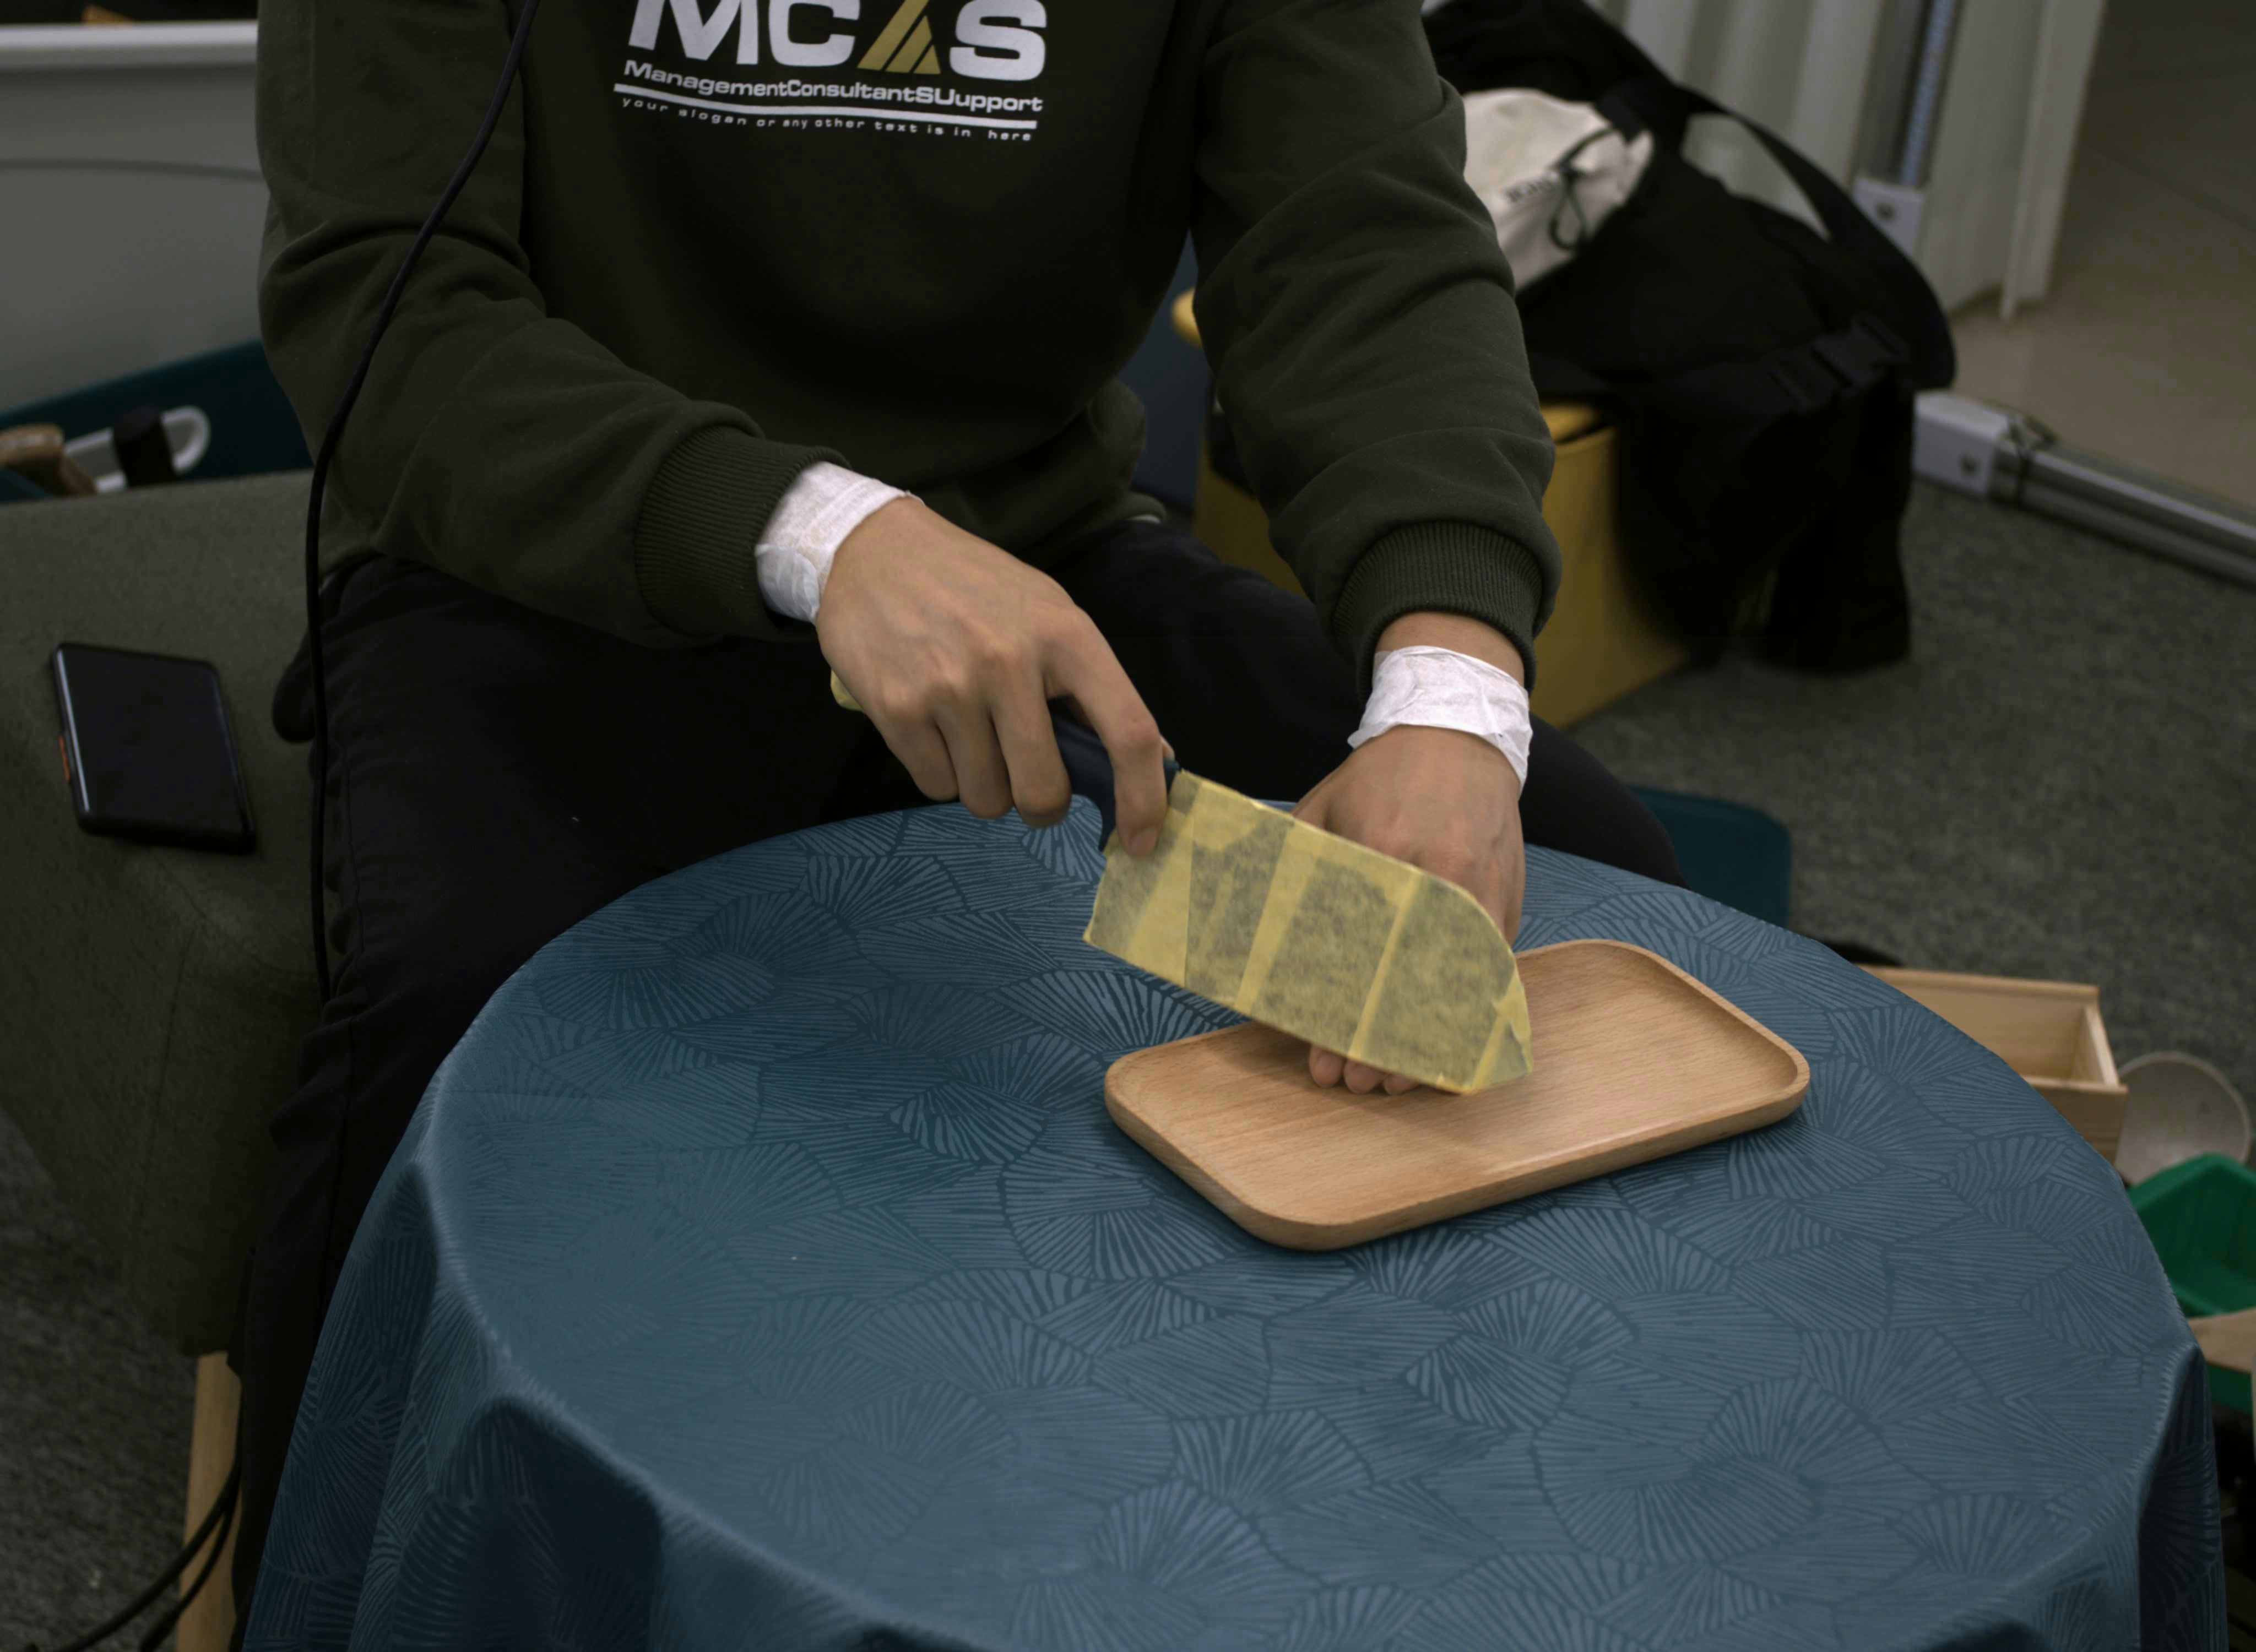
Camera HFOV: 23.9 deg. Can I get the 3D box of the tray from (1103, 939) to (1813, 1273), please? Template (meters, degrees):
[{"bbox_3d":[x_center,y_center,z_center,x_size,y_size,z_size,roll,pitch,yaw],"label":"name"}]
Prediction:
[{"bbox_3d":[0.118,0.097,1.874,0.249,0.023,0.131,-15,31,-32],"label":"tray"}]

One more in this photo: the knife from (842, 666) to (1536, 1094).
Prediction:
[{"bbox_3d":[0.018,0.018,1.871,0.291,0.081,0.027,27,13,20],"label":"knife"}]
